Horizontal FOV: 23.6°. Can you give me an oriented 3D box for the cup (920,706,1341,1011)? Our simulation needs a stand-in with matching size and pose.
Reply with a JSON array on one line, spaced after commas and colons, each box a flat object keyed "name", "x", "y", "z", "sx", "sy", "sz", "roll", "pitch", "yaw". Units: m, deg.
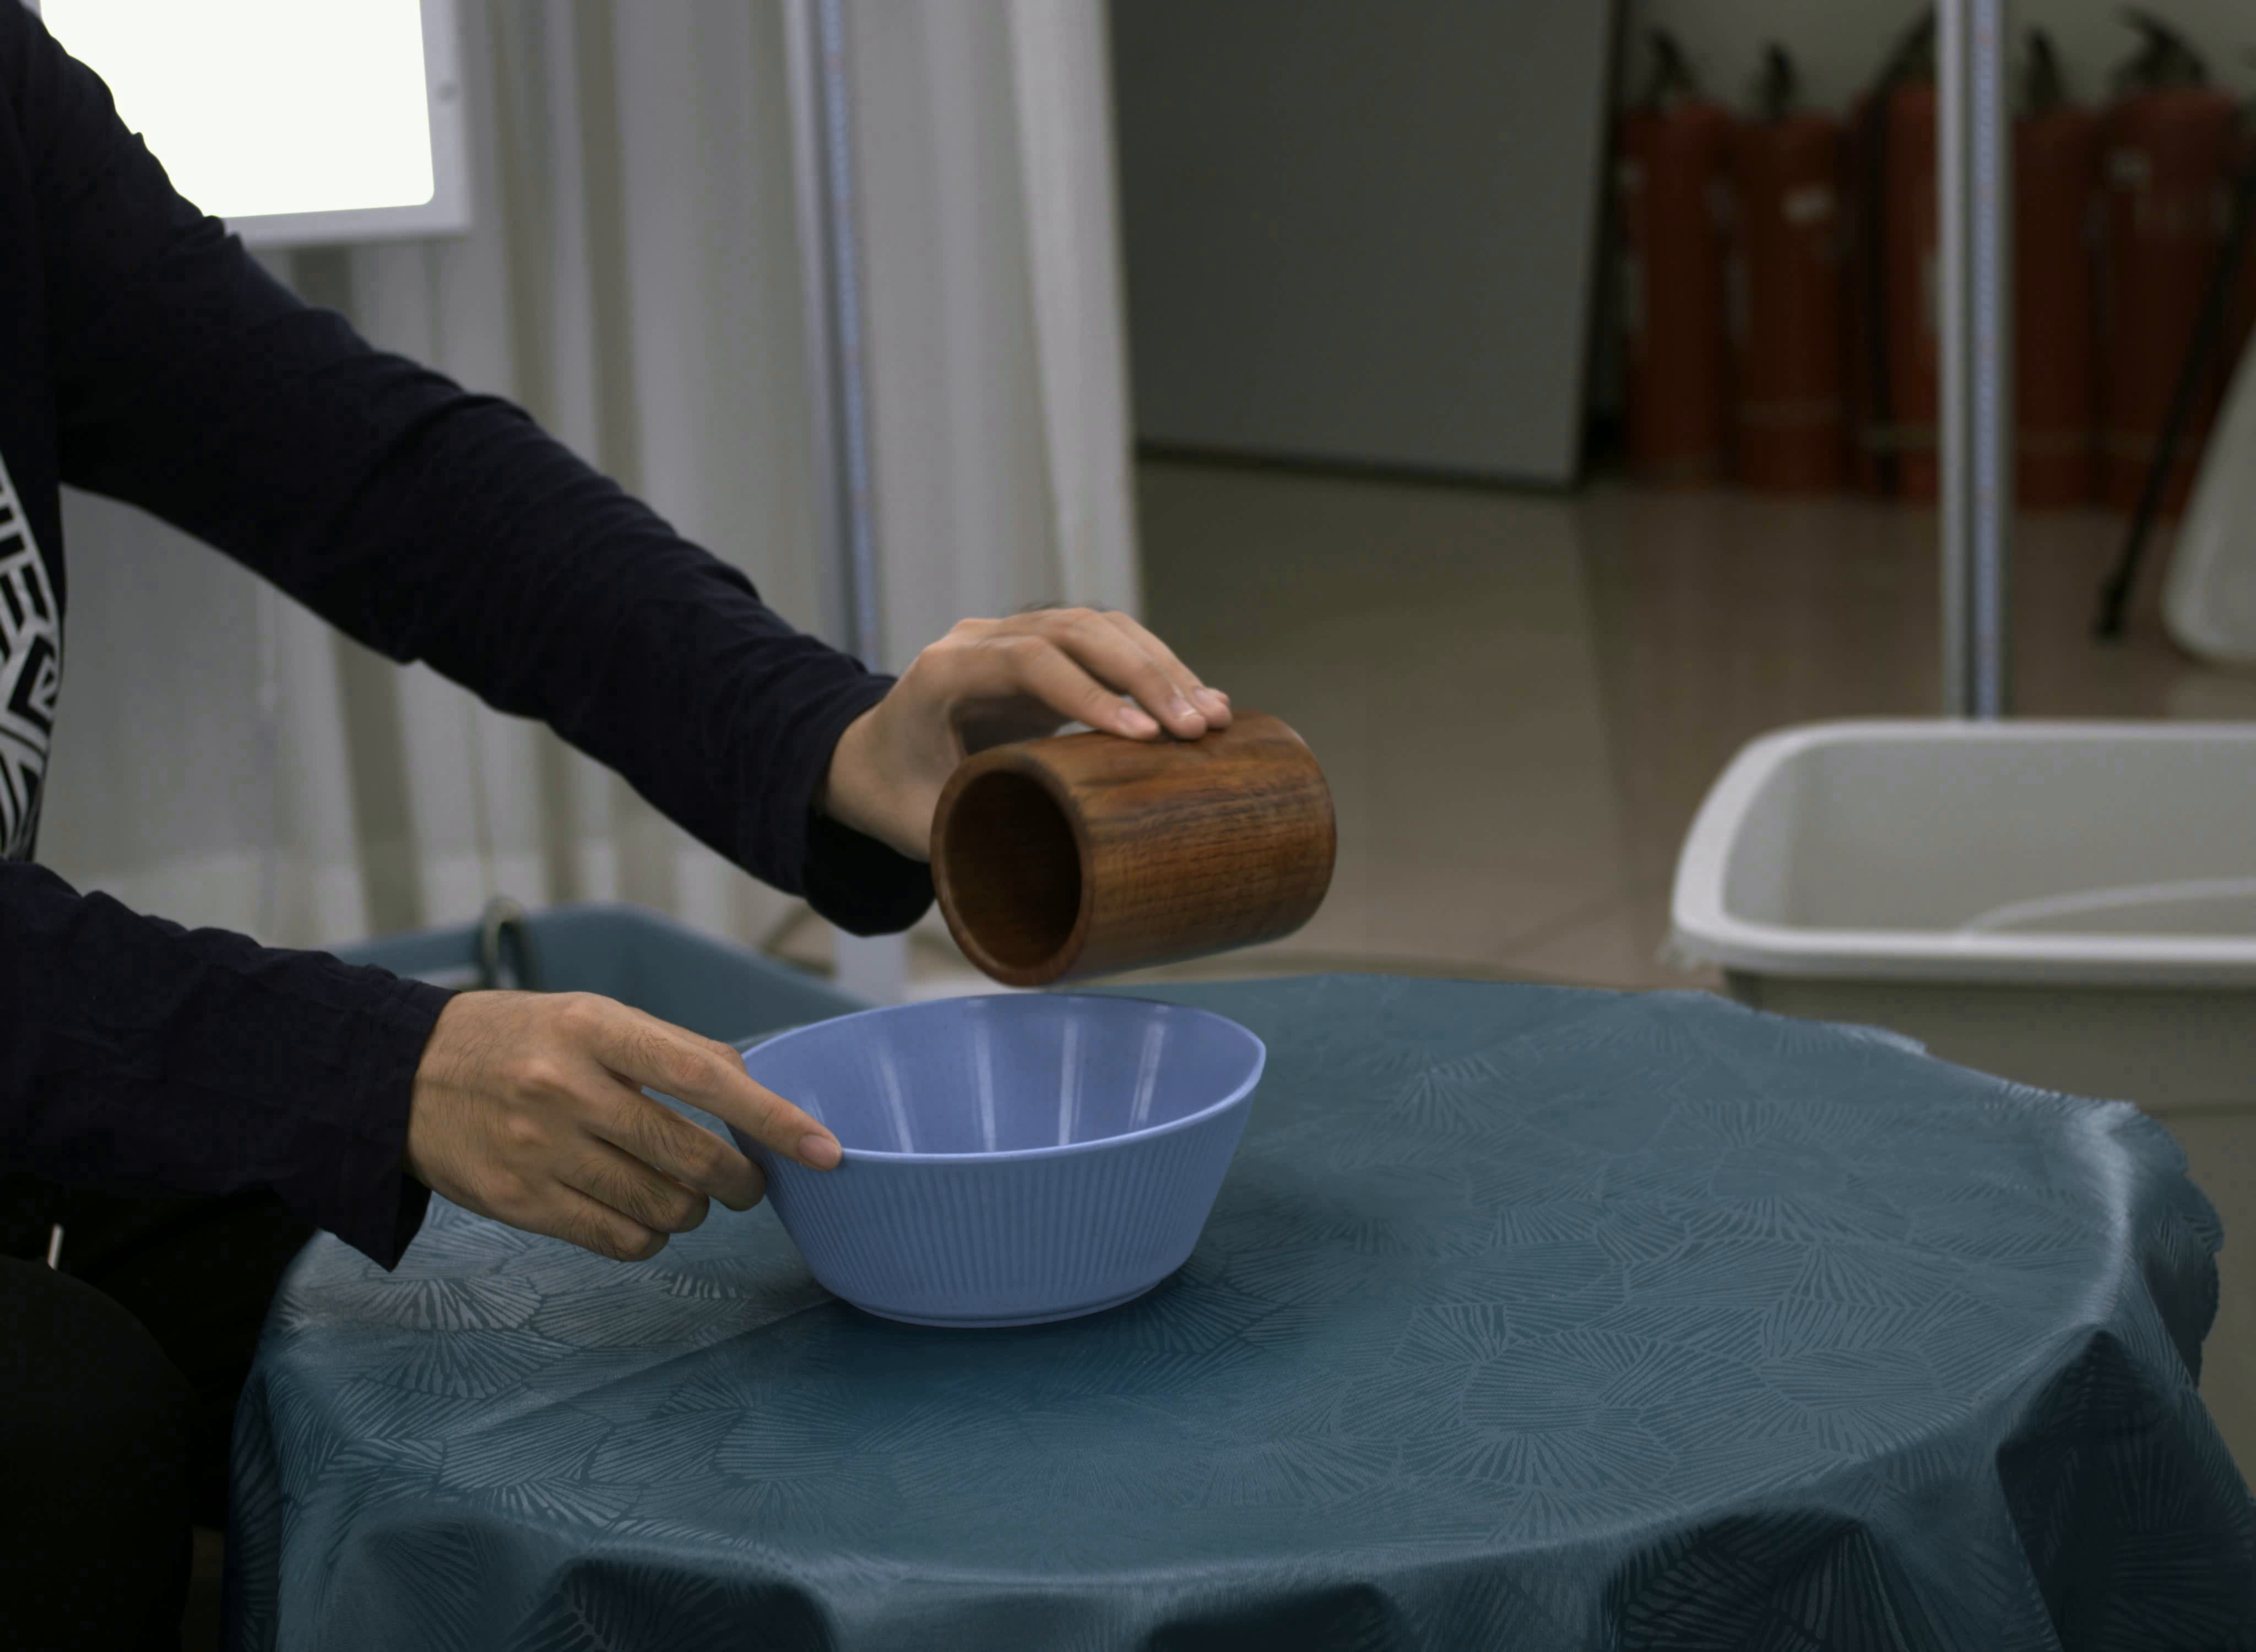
[{"name": "cup", "x": 0.001, "y": 0.010, "z": 1.749, "sx": 0.116, "sy": 0.089, "sz": 0.088, "roll": -11, "pitch": 15, "yaw": -39}]

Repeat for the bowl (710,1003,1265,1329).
[{"name": "bowl", "x": -0.042, "y": 0.108, "z": 1.693, "sx": 0.174, "sy": 0.071, "sz": 0.176, "roll": -4, "pitch": 13, "yaw": 0}]
